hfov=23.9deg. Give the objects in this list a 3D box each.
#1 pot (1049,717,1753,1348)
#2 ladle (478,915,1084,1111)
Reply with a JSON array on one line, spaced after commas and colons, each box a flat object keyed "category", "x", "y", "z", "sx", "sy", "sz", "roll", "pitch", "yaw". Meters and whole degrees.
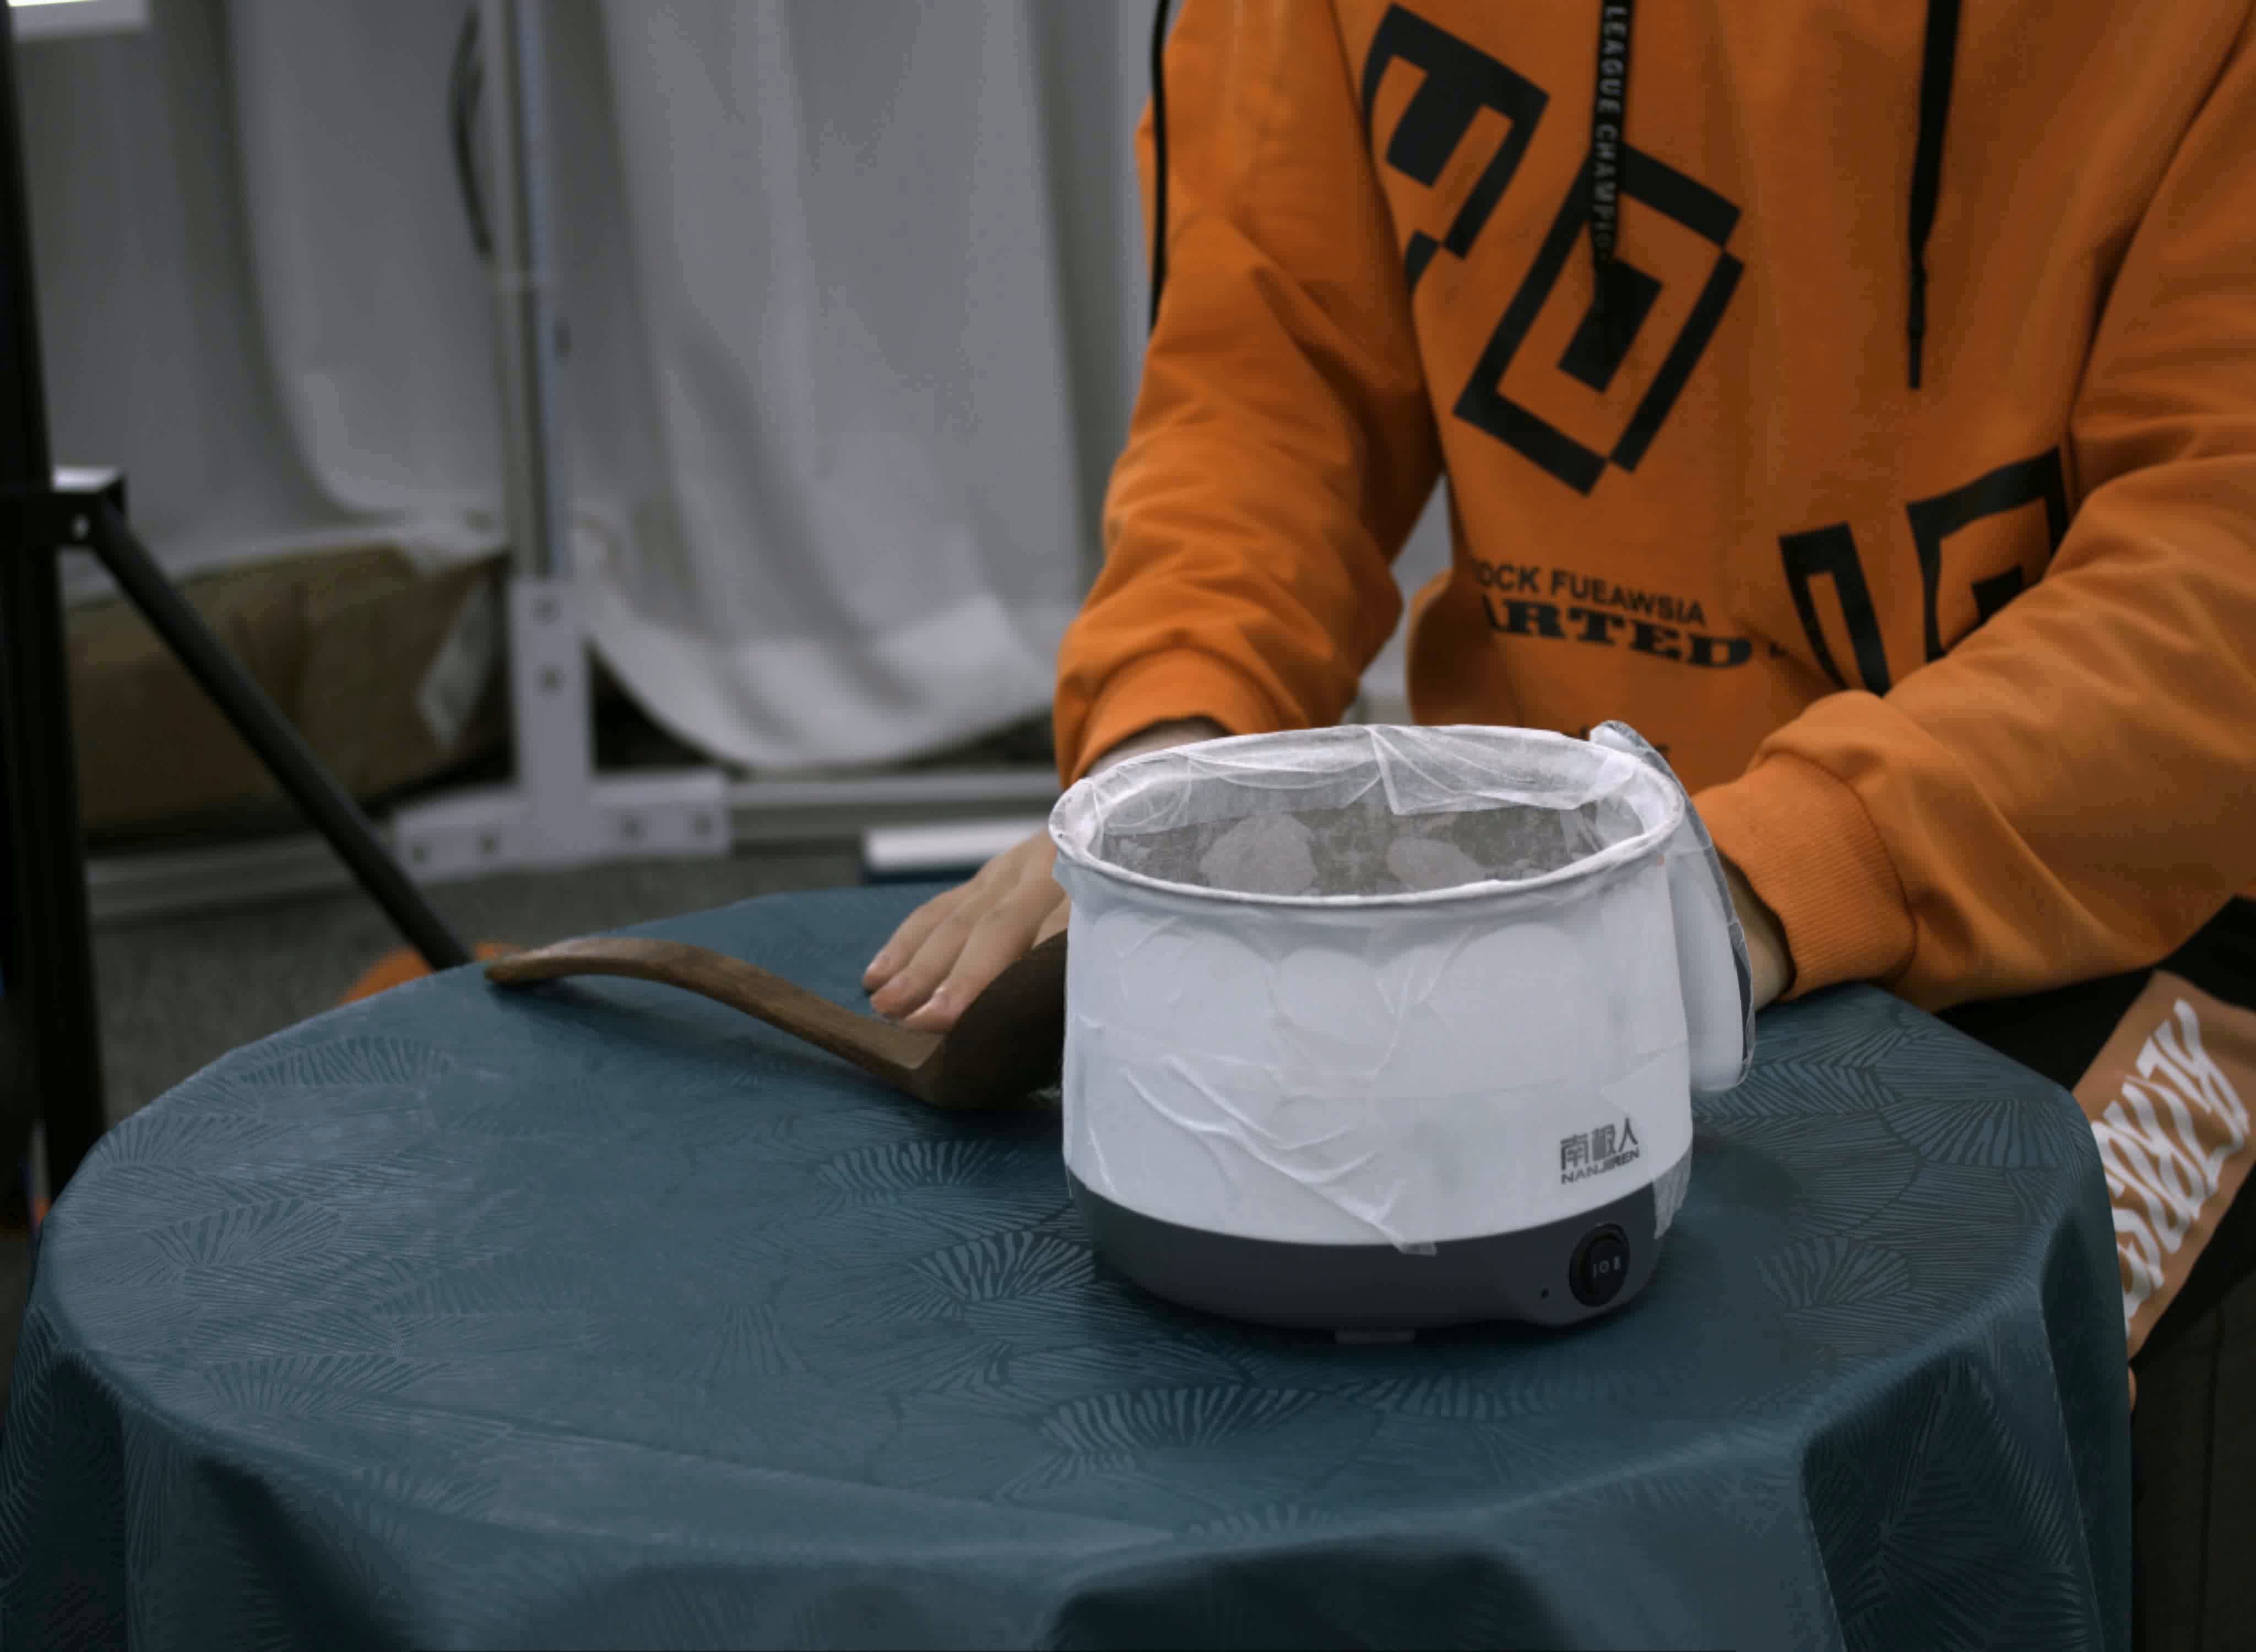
[{"category": "pot", "x": 0.089, "y": 0.050, "z": 1.495, "sx": 0.228, "sy": 0.136, "sz": 0.183, "roll": -16, "pitch": 21, "yaw": -40}, {"category": "ladle", "x": -0.110, "y": 0.040, "z": 1.691, "sx": 0.280, "sy": 0.071, "sz": 0.074, "roll": 13, "pitch": 19, "yaw": 43}]
